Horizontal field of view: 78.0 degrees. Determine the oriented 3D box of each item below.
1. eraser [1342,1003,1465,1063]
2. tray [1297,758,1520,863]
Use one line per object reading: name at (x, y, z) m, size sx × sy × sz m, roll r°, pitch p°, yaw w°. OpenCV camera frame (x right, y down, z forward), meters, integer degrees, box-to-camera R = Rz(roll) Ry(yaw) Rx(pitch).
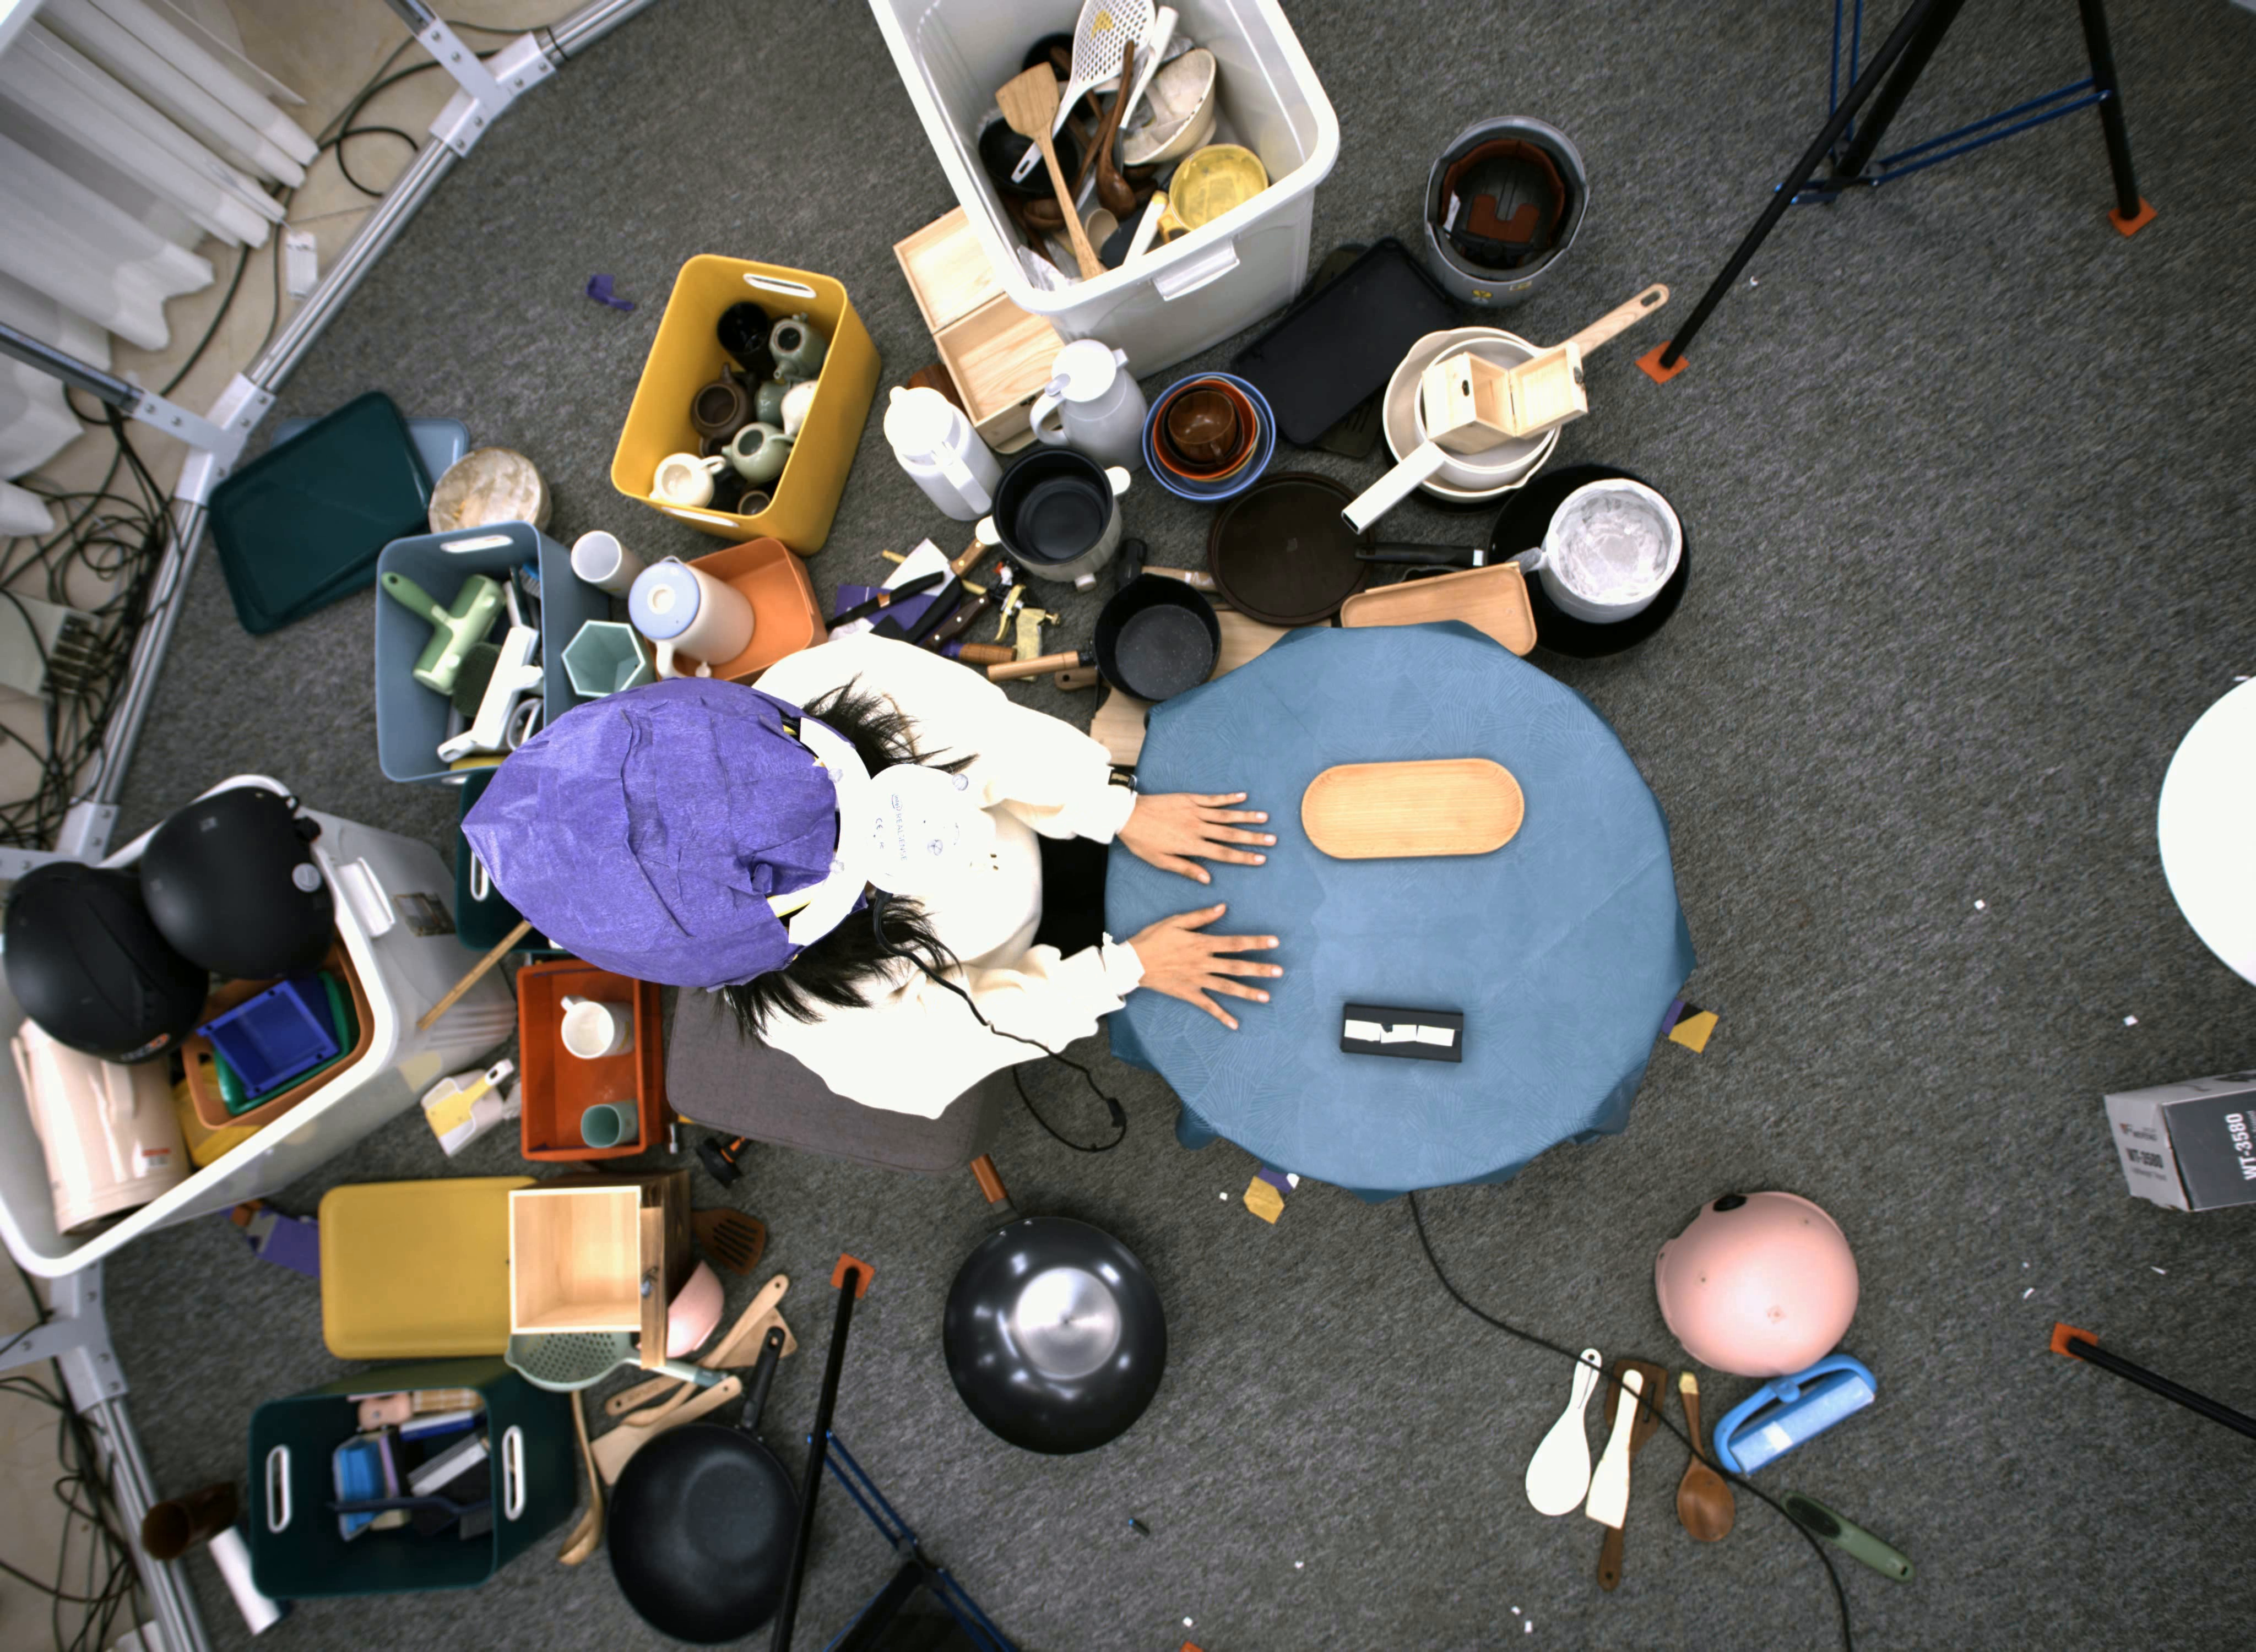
eraser at (0.286, 0.213, 1.434) m, size 0.126 × 0.030 × 0.053 m, roll 3°, pitch 81°, yaw 10°
tray at (0.295, -0.017, 1.452) m, size 0.232 × 0.020 × 0.101 m, roll -5°, pitch 85°, yaw 12°
